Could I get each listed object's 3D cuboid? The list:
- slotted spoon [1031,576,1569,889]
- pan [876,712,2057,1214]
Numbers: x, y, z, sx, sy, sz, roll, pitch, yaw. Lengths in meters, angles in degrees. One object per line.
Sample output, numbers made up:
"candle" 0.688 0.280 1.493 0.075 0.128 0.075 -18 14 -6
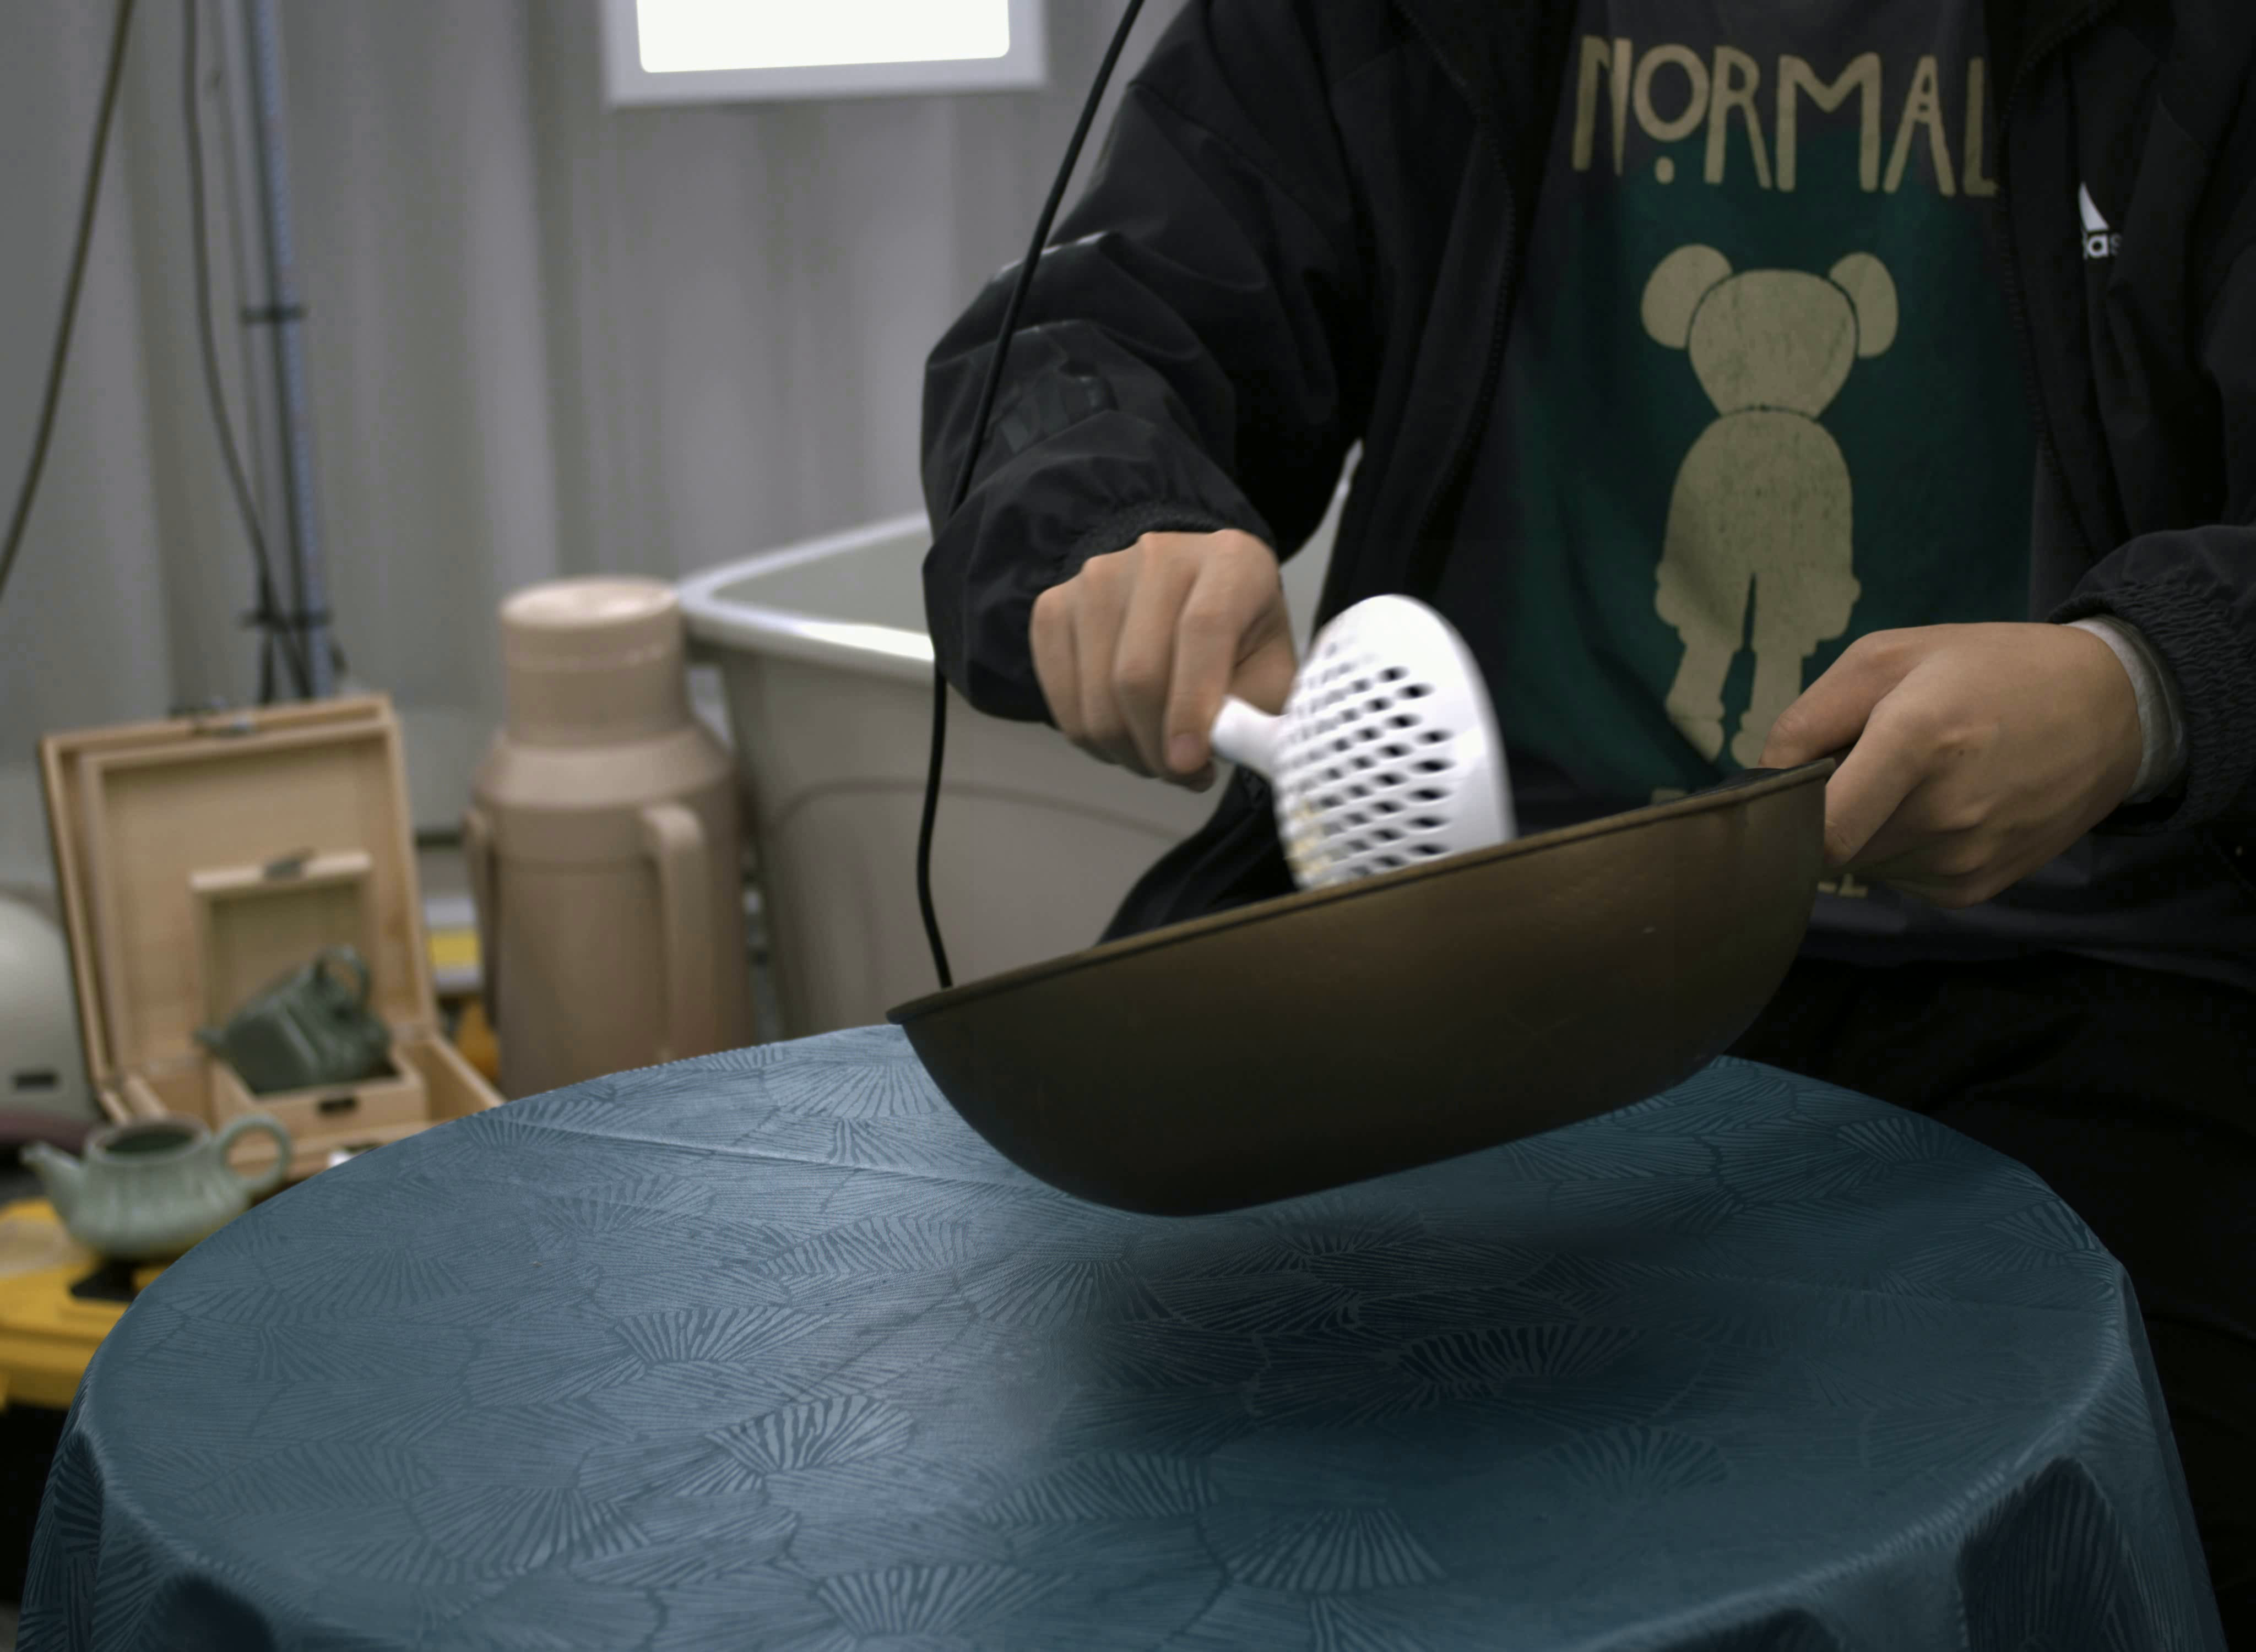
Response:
"slotted spoon" 0.047 -0.021 1.686 0.050 0.136 0.350 -15 14 -16
"pan" 0.136 0.038 1.623 0.462 0.087 0.288 -13 -3 -45
